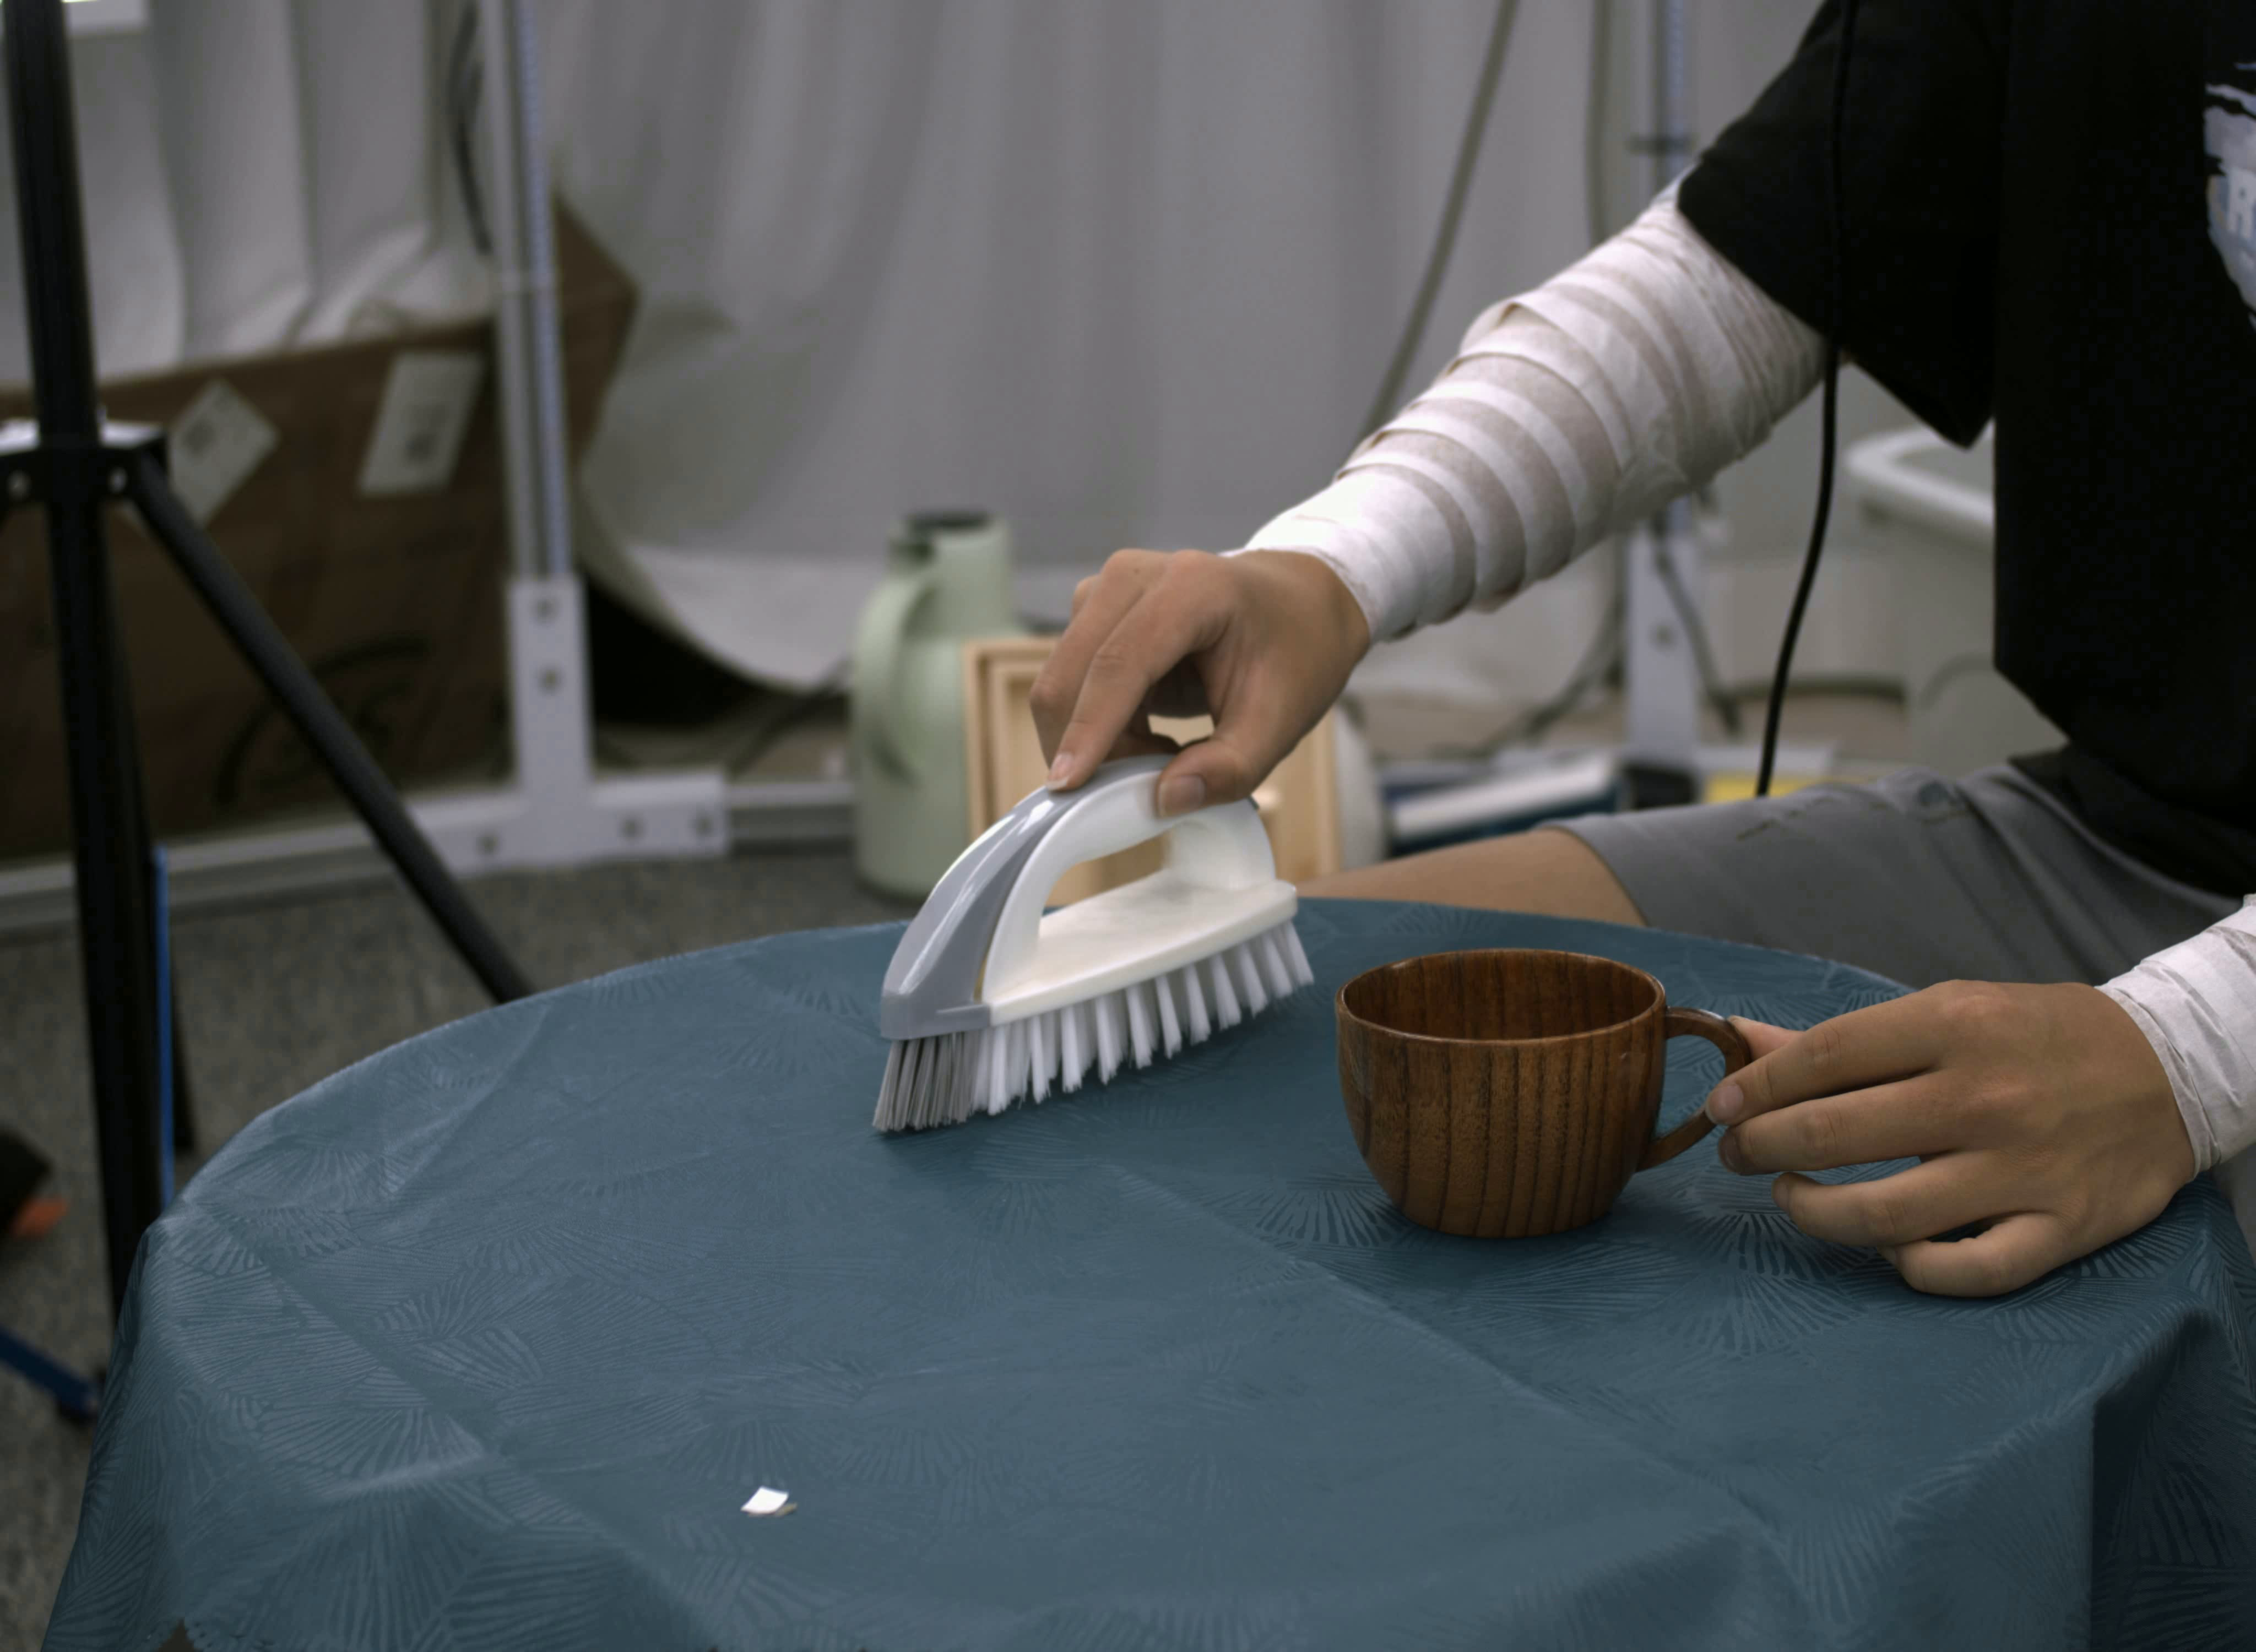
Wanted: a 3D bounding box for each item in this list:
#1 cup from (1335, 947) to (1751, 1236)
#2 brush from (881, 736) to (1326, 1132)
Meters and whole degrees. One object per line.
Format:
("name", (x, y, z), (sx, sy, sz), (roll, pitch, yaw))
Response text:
("cup", (0.119, 0.079, 1.524), (0.120, 0.068, 0.096), (1, 13, 8))
("brush", (-0.017, 0.029, 1.663), (0.172, 0.094, 0.063), (-24, 18, -40))
